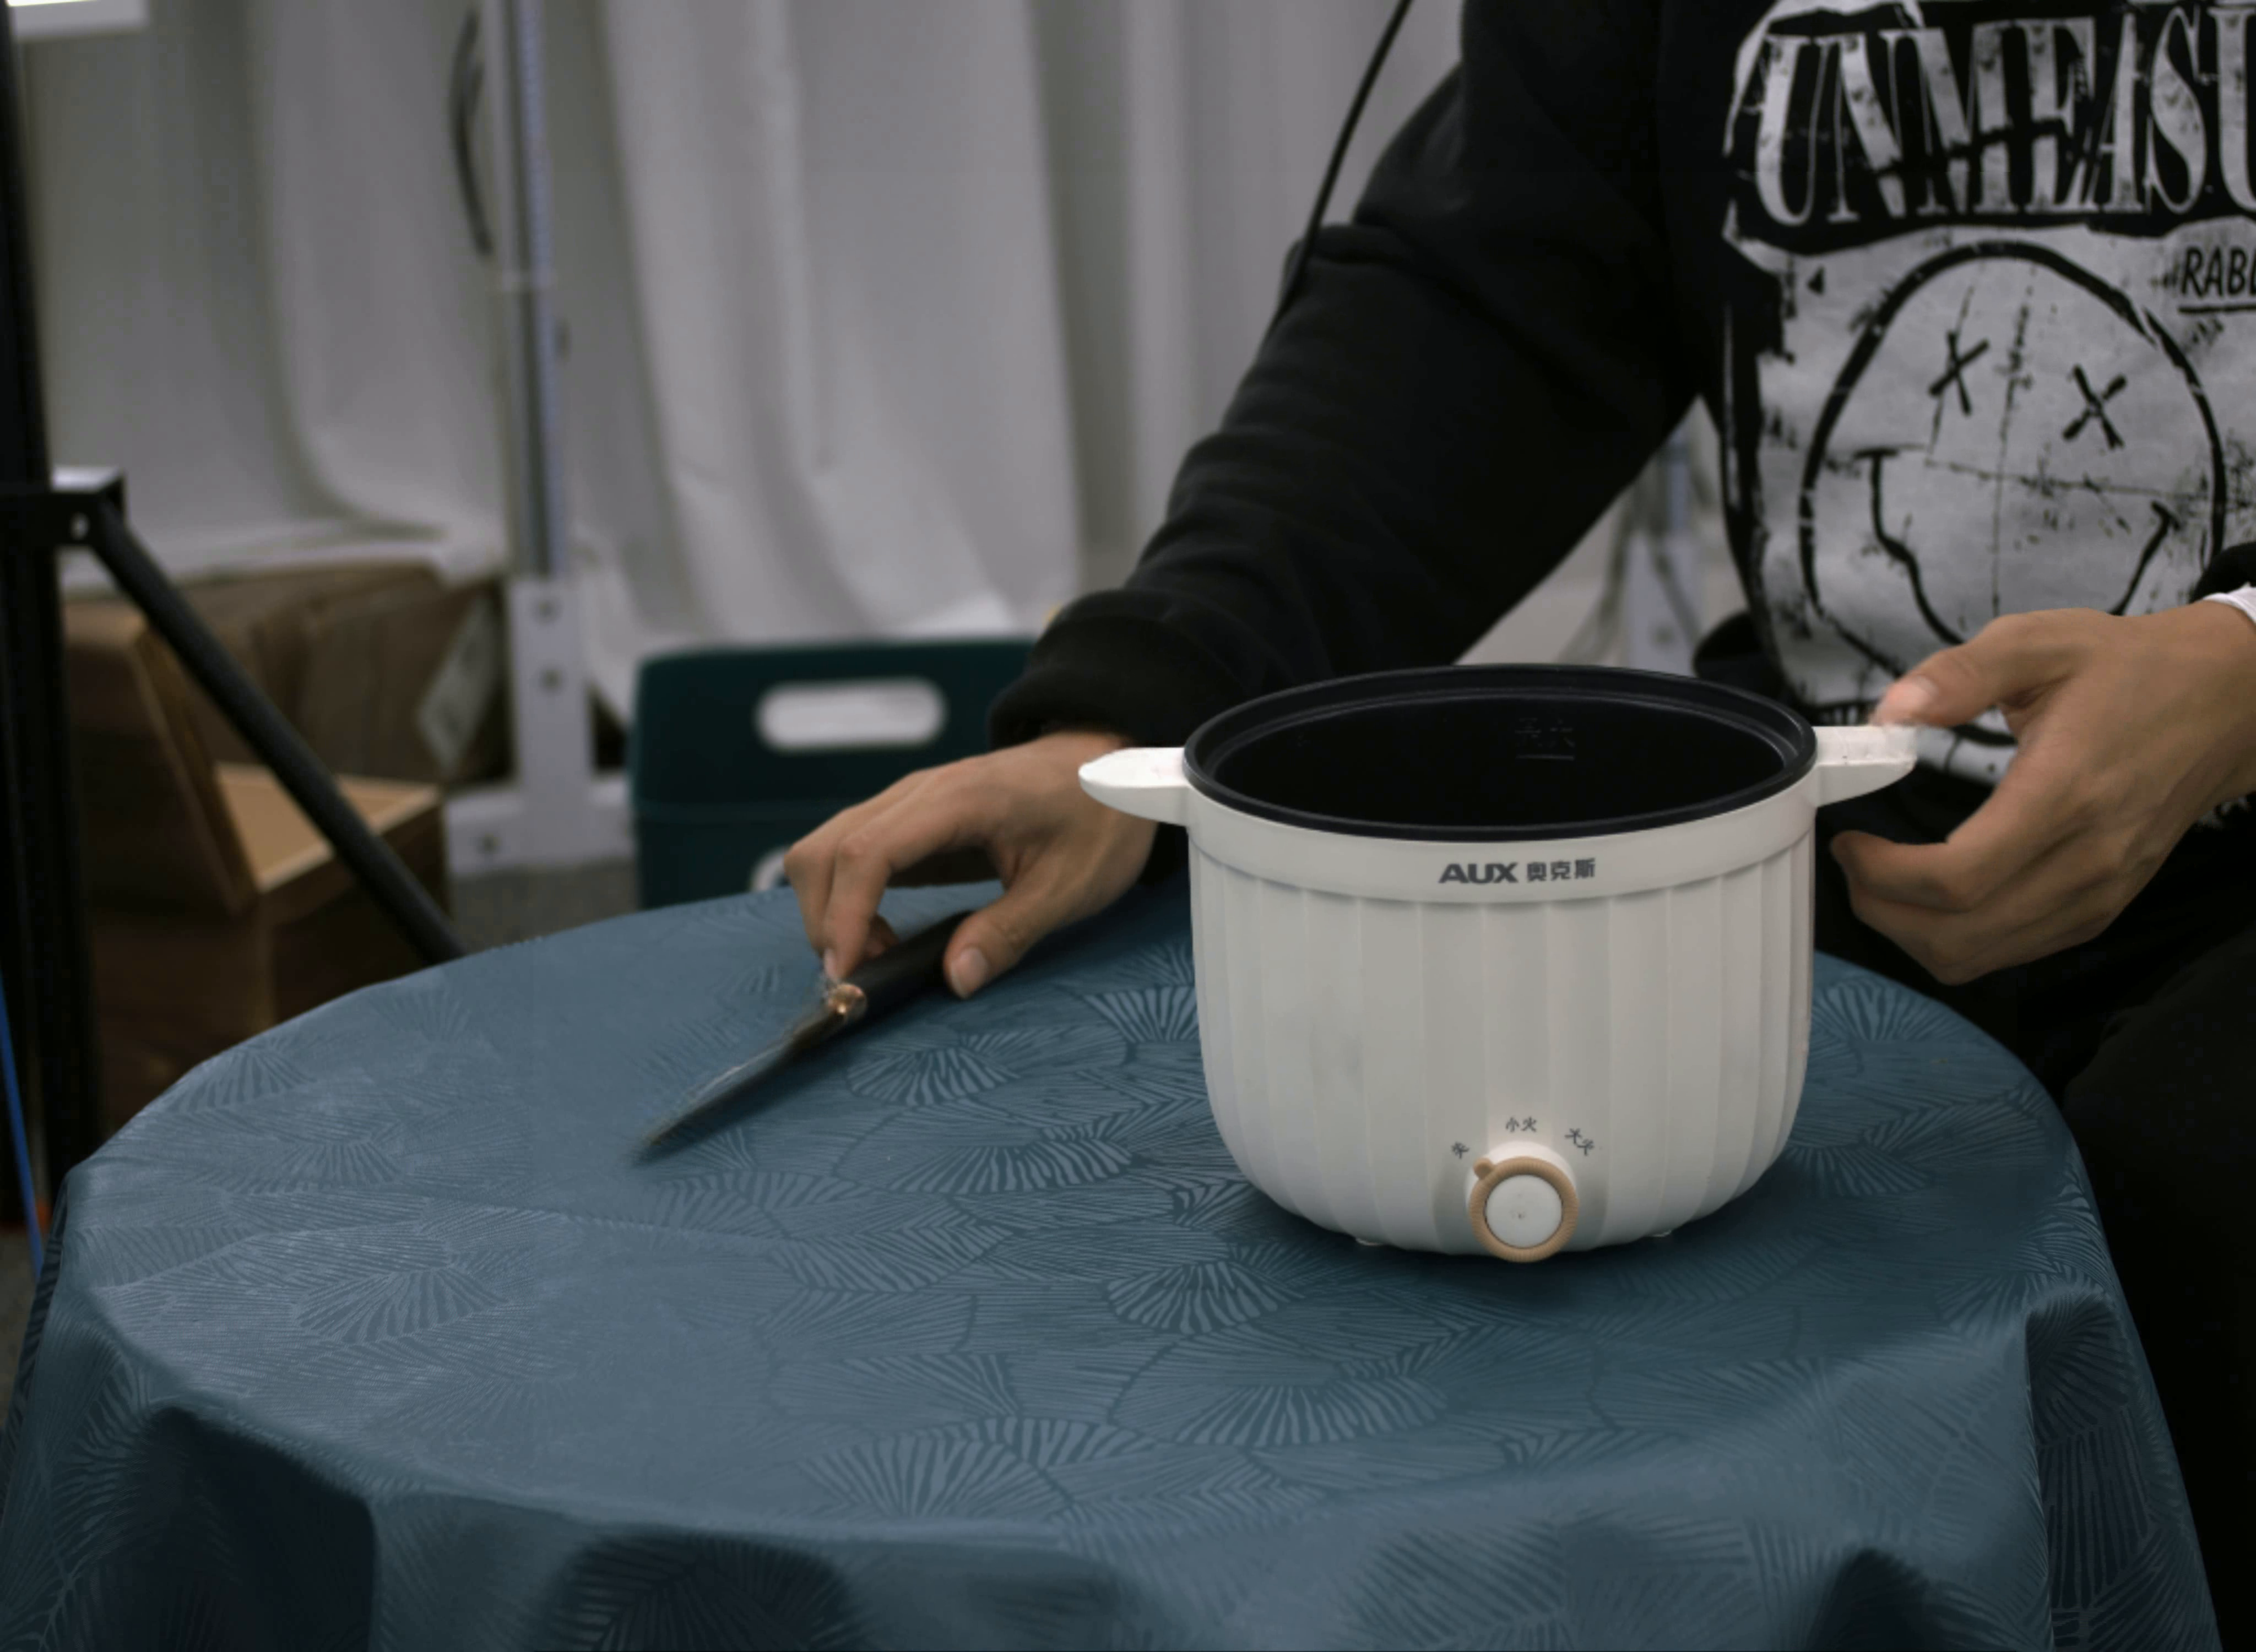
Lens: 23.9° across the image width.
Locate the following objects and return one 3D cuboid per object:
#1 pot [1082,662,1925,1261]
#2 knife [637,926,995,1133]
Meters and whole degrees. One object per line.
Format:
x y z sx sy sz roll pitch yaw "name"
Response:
0.110 0.041 1.518 0.240 0.143 0.191 -3 12 2 "pot"
-0.100 0.065 1.689 0.026 0.017 0.222 -14 7 30 "knife"
